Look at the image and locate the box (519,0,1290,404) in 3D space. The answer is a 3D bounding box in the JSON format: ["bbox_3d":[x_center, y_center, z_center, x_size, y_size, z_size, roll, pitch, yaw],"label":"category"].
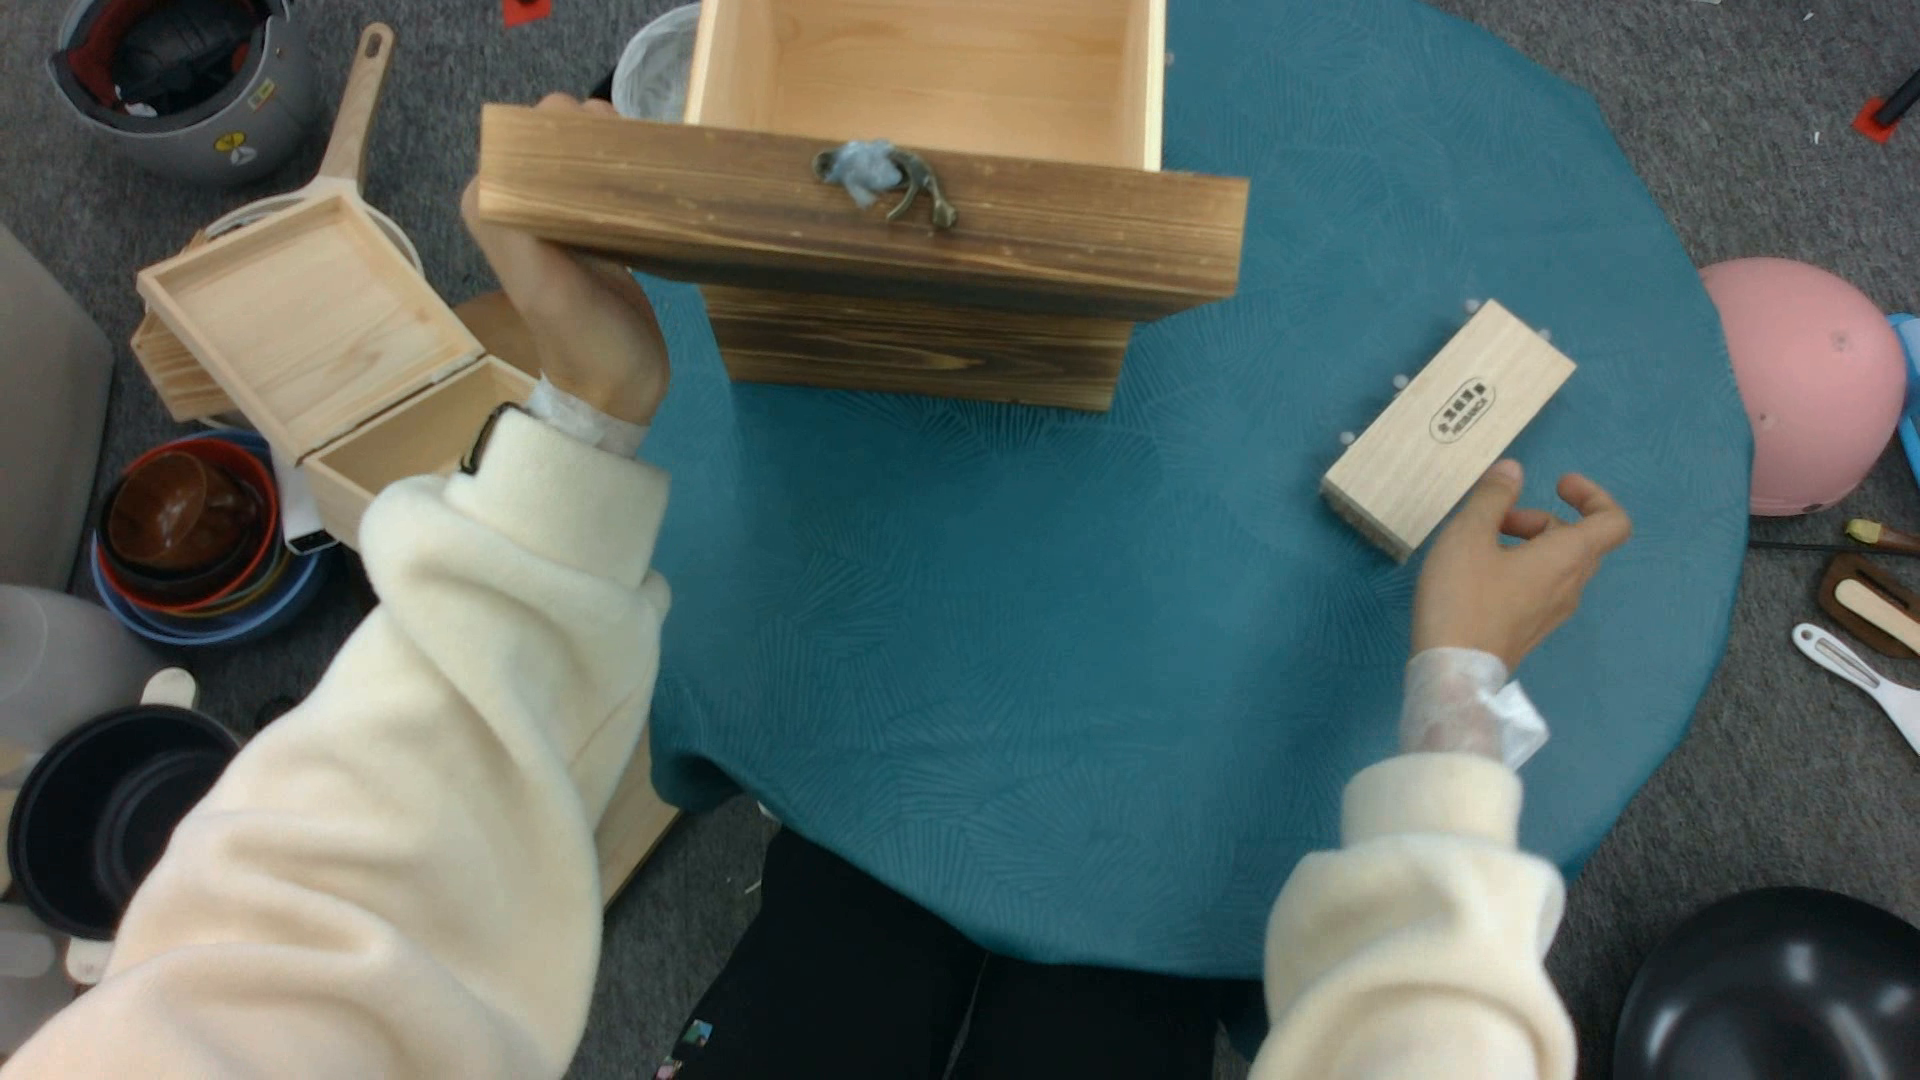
[{"bbox_3d":[-0.017,-0.187,0.568,0.209,0.374,0.323,4,69,-1],"label":"box"}]

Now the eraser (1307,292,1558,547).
[{"bbox_3d":[0.241,-0.063,0.710,0.057,0.029,0.139,43,75,10],"label":"eraser"}]
